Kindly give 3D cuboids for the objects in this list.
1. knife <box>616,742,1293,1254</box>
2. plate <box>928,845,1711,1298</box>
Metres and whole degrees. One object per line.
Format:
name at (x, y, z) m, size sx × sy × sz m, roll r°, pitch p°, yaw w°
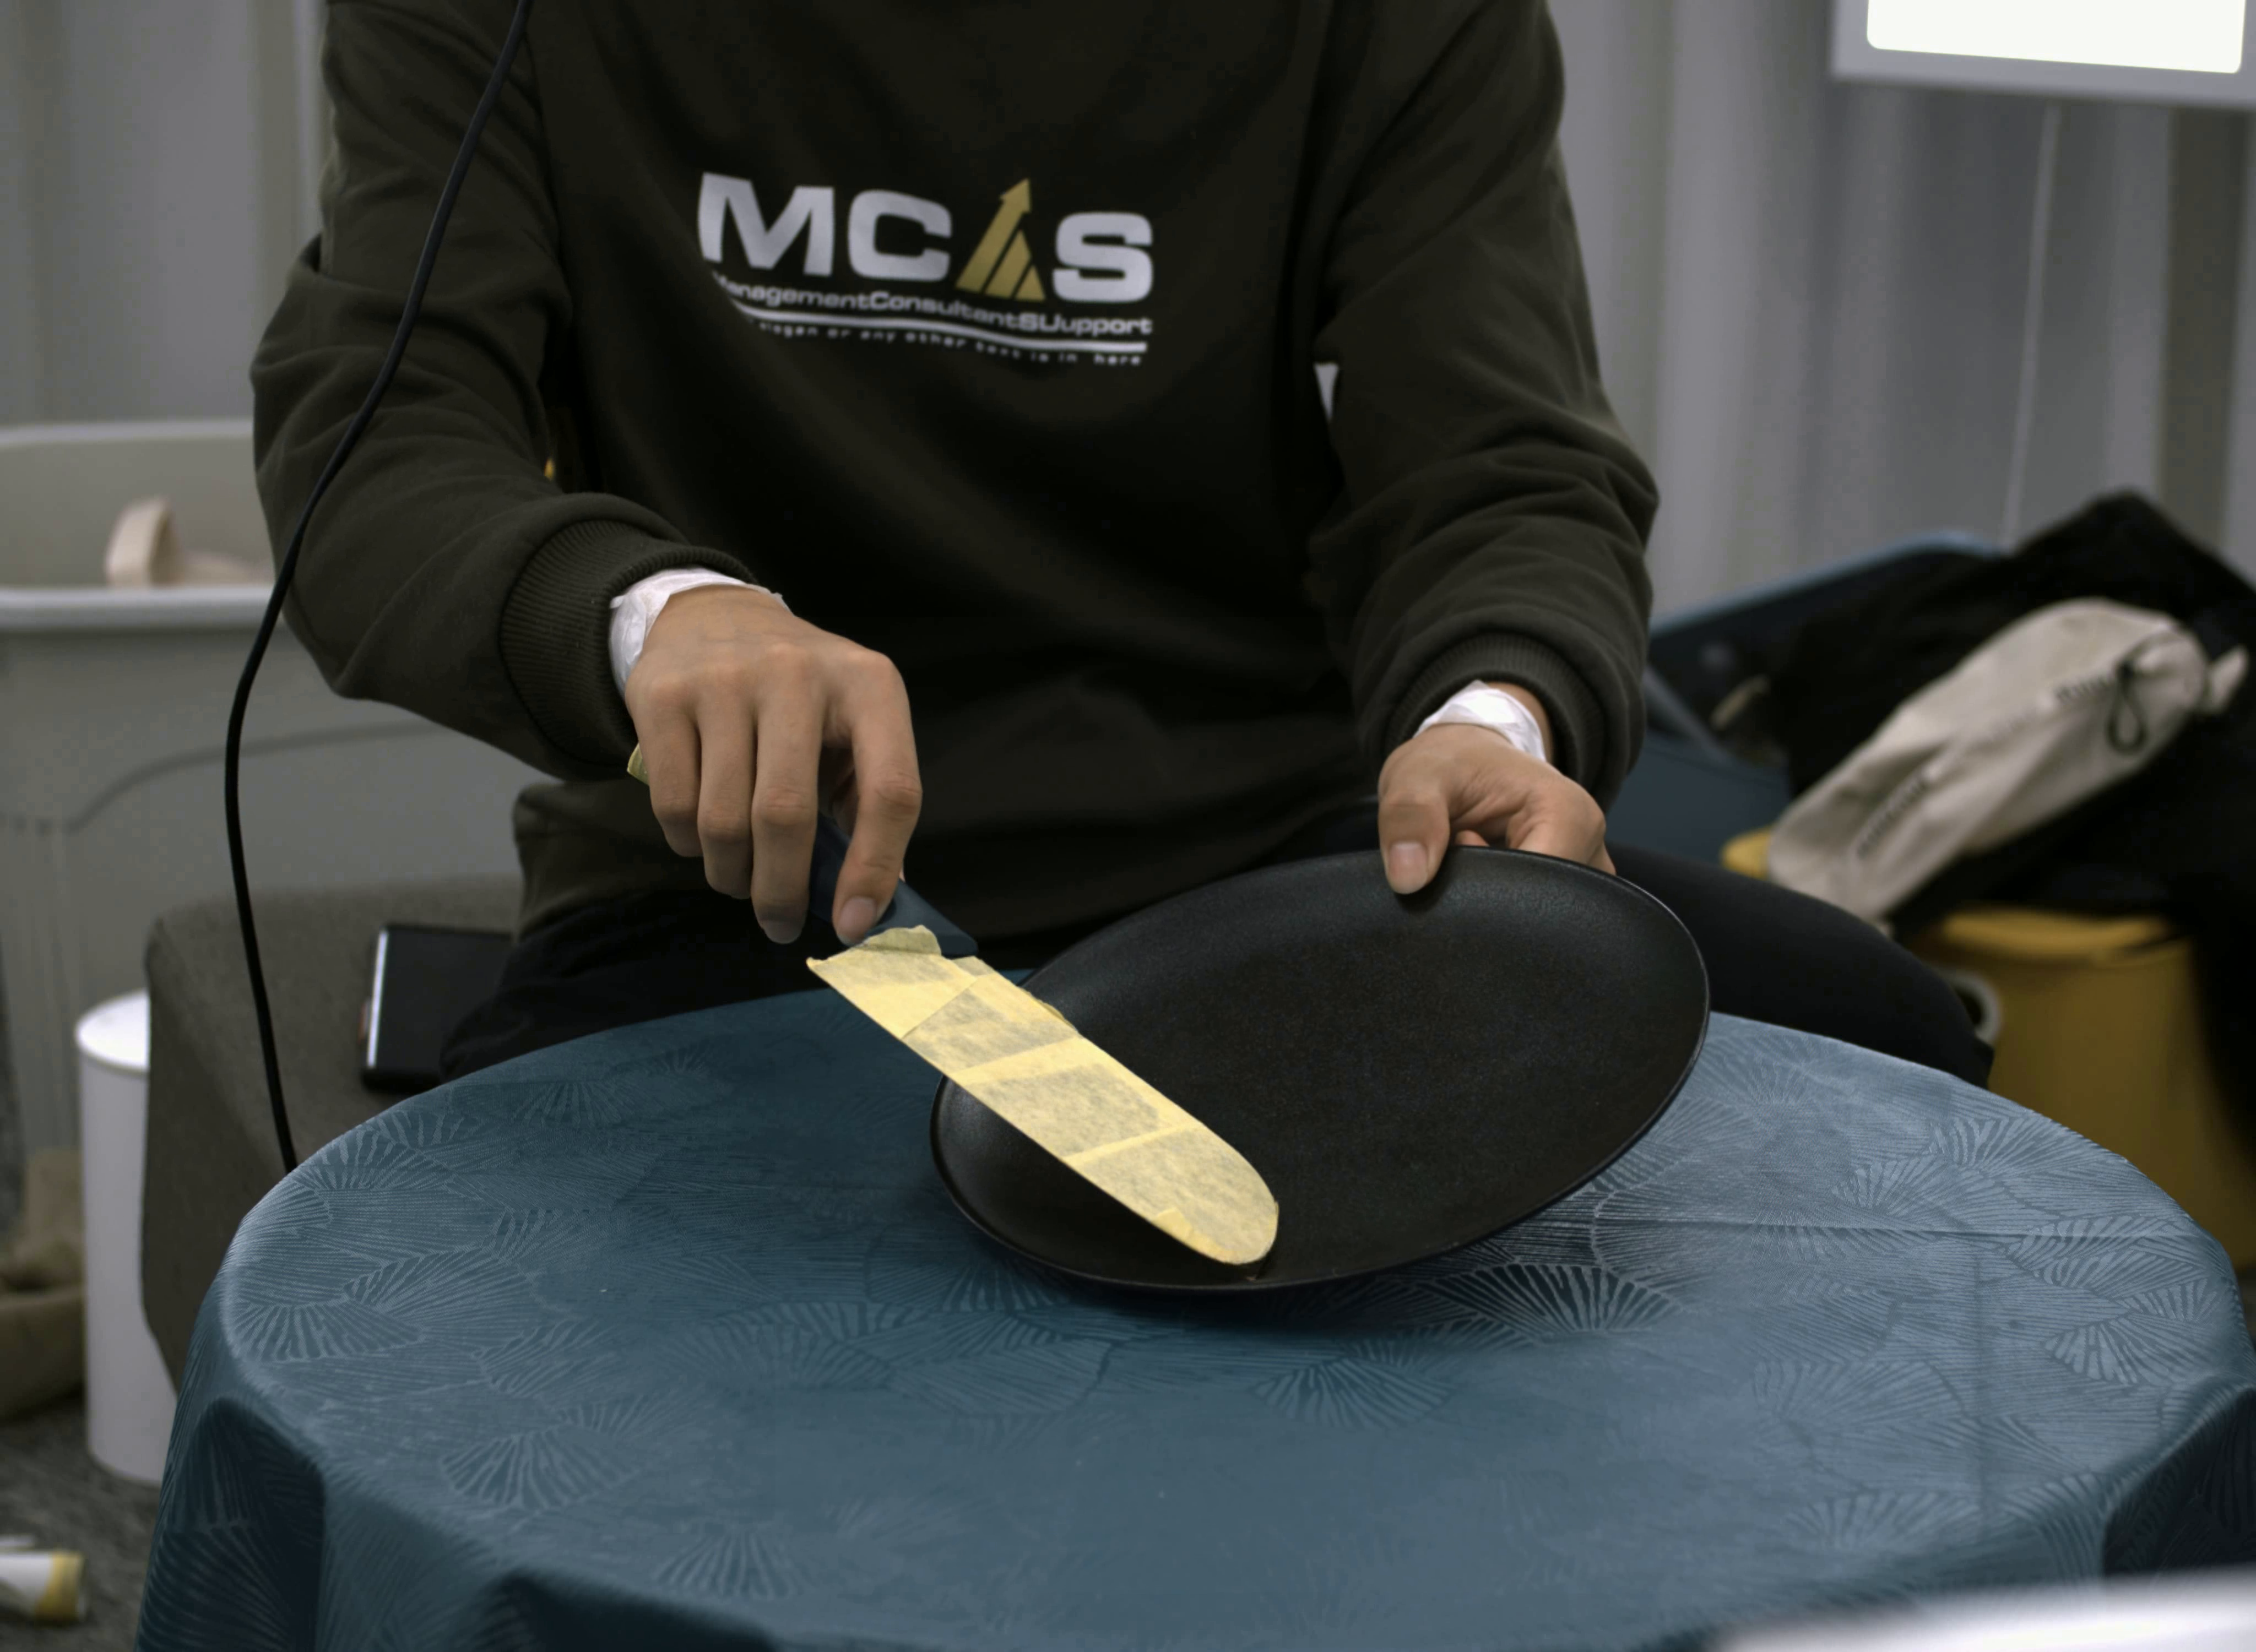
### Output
knife at (-0.059, 0.052, 1.588) m, size 0.286 × 0.027 × 0.081 m, roll 35°, pitch 21°, yaw 28°
plate at (0.059, 0.078, 1.604) m, size 0.243 × 0.024 × 0.242 m, roll -10°, pitch 29°, yaw 6°
